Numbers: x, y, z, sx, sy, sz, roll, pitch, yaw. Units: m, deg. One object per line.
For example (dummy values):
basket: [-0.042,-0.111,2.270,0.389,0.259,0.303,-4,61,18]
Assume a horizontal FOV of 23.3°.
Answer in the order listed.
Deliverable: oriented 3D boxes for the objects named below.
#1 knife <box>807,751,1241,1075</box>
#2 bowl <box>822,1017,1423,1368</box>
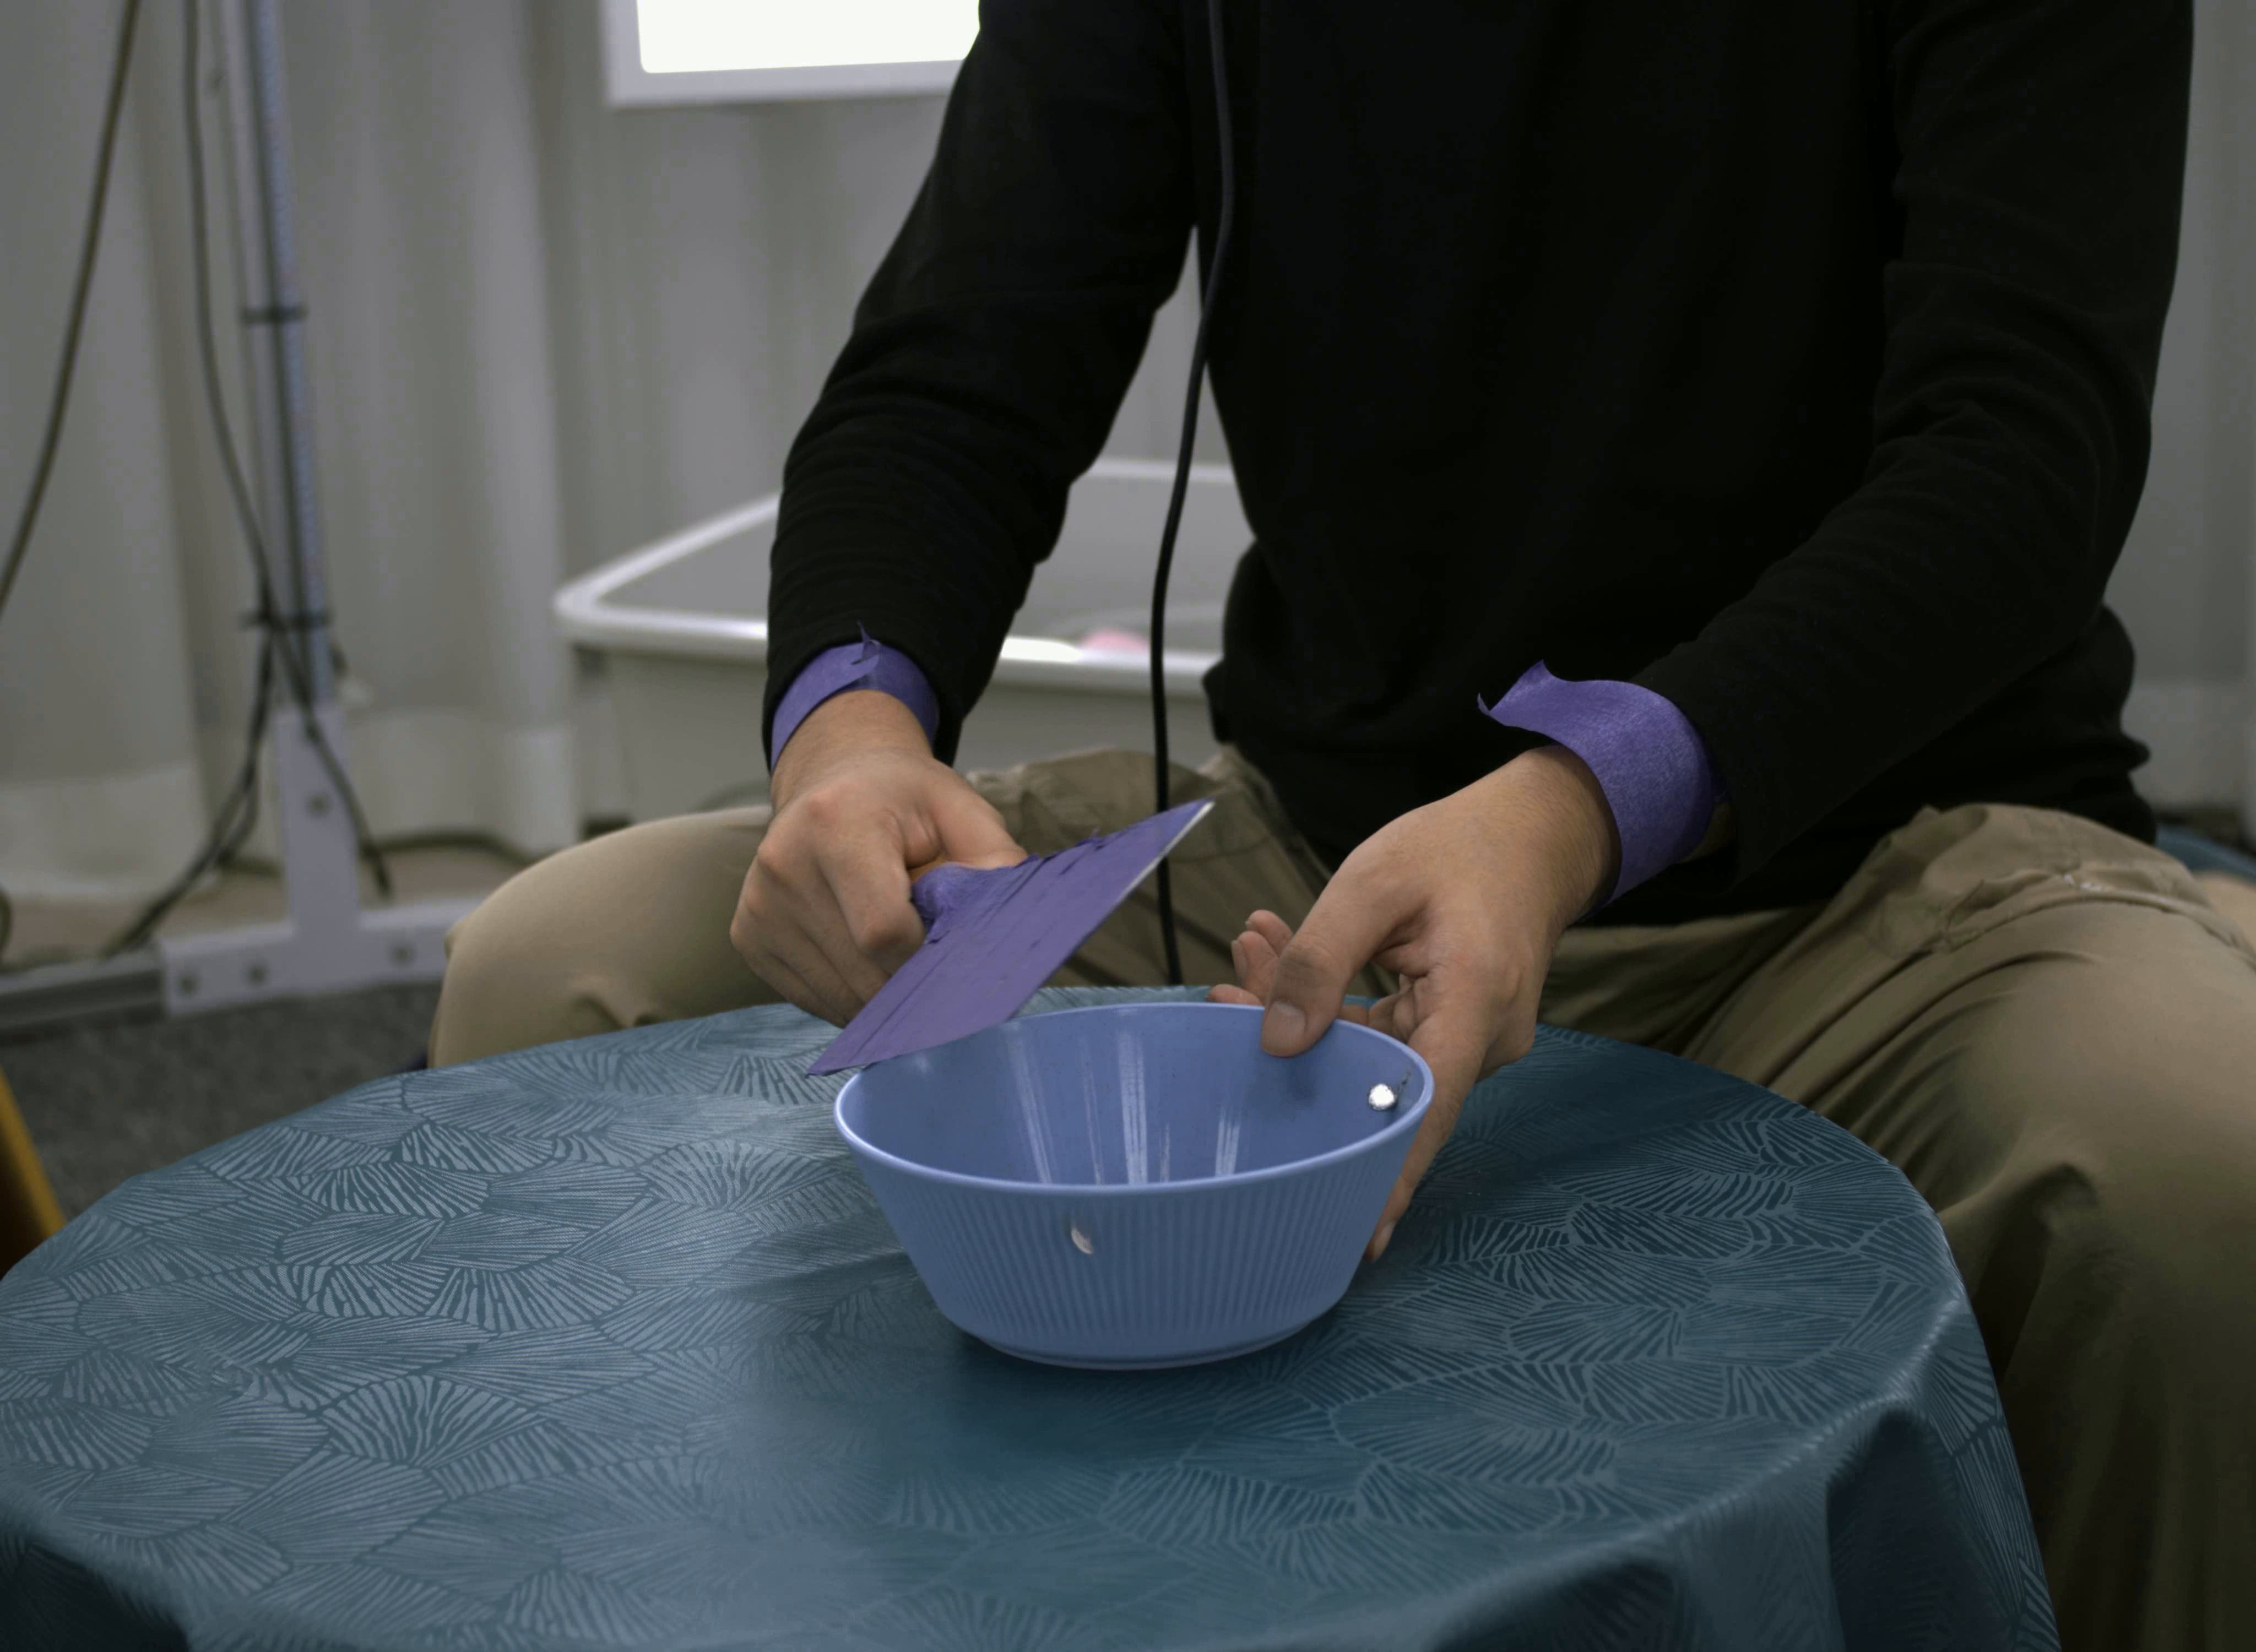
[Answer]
knife: [-0.054,0.036,1.654,0.104,0.032,0.314,-46,7,-20]
bowl: [-0.001,0.109,1.600,0.175,0.070,0.177,-1,13,0]
